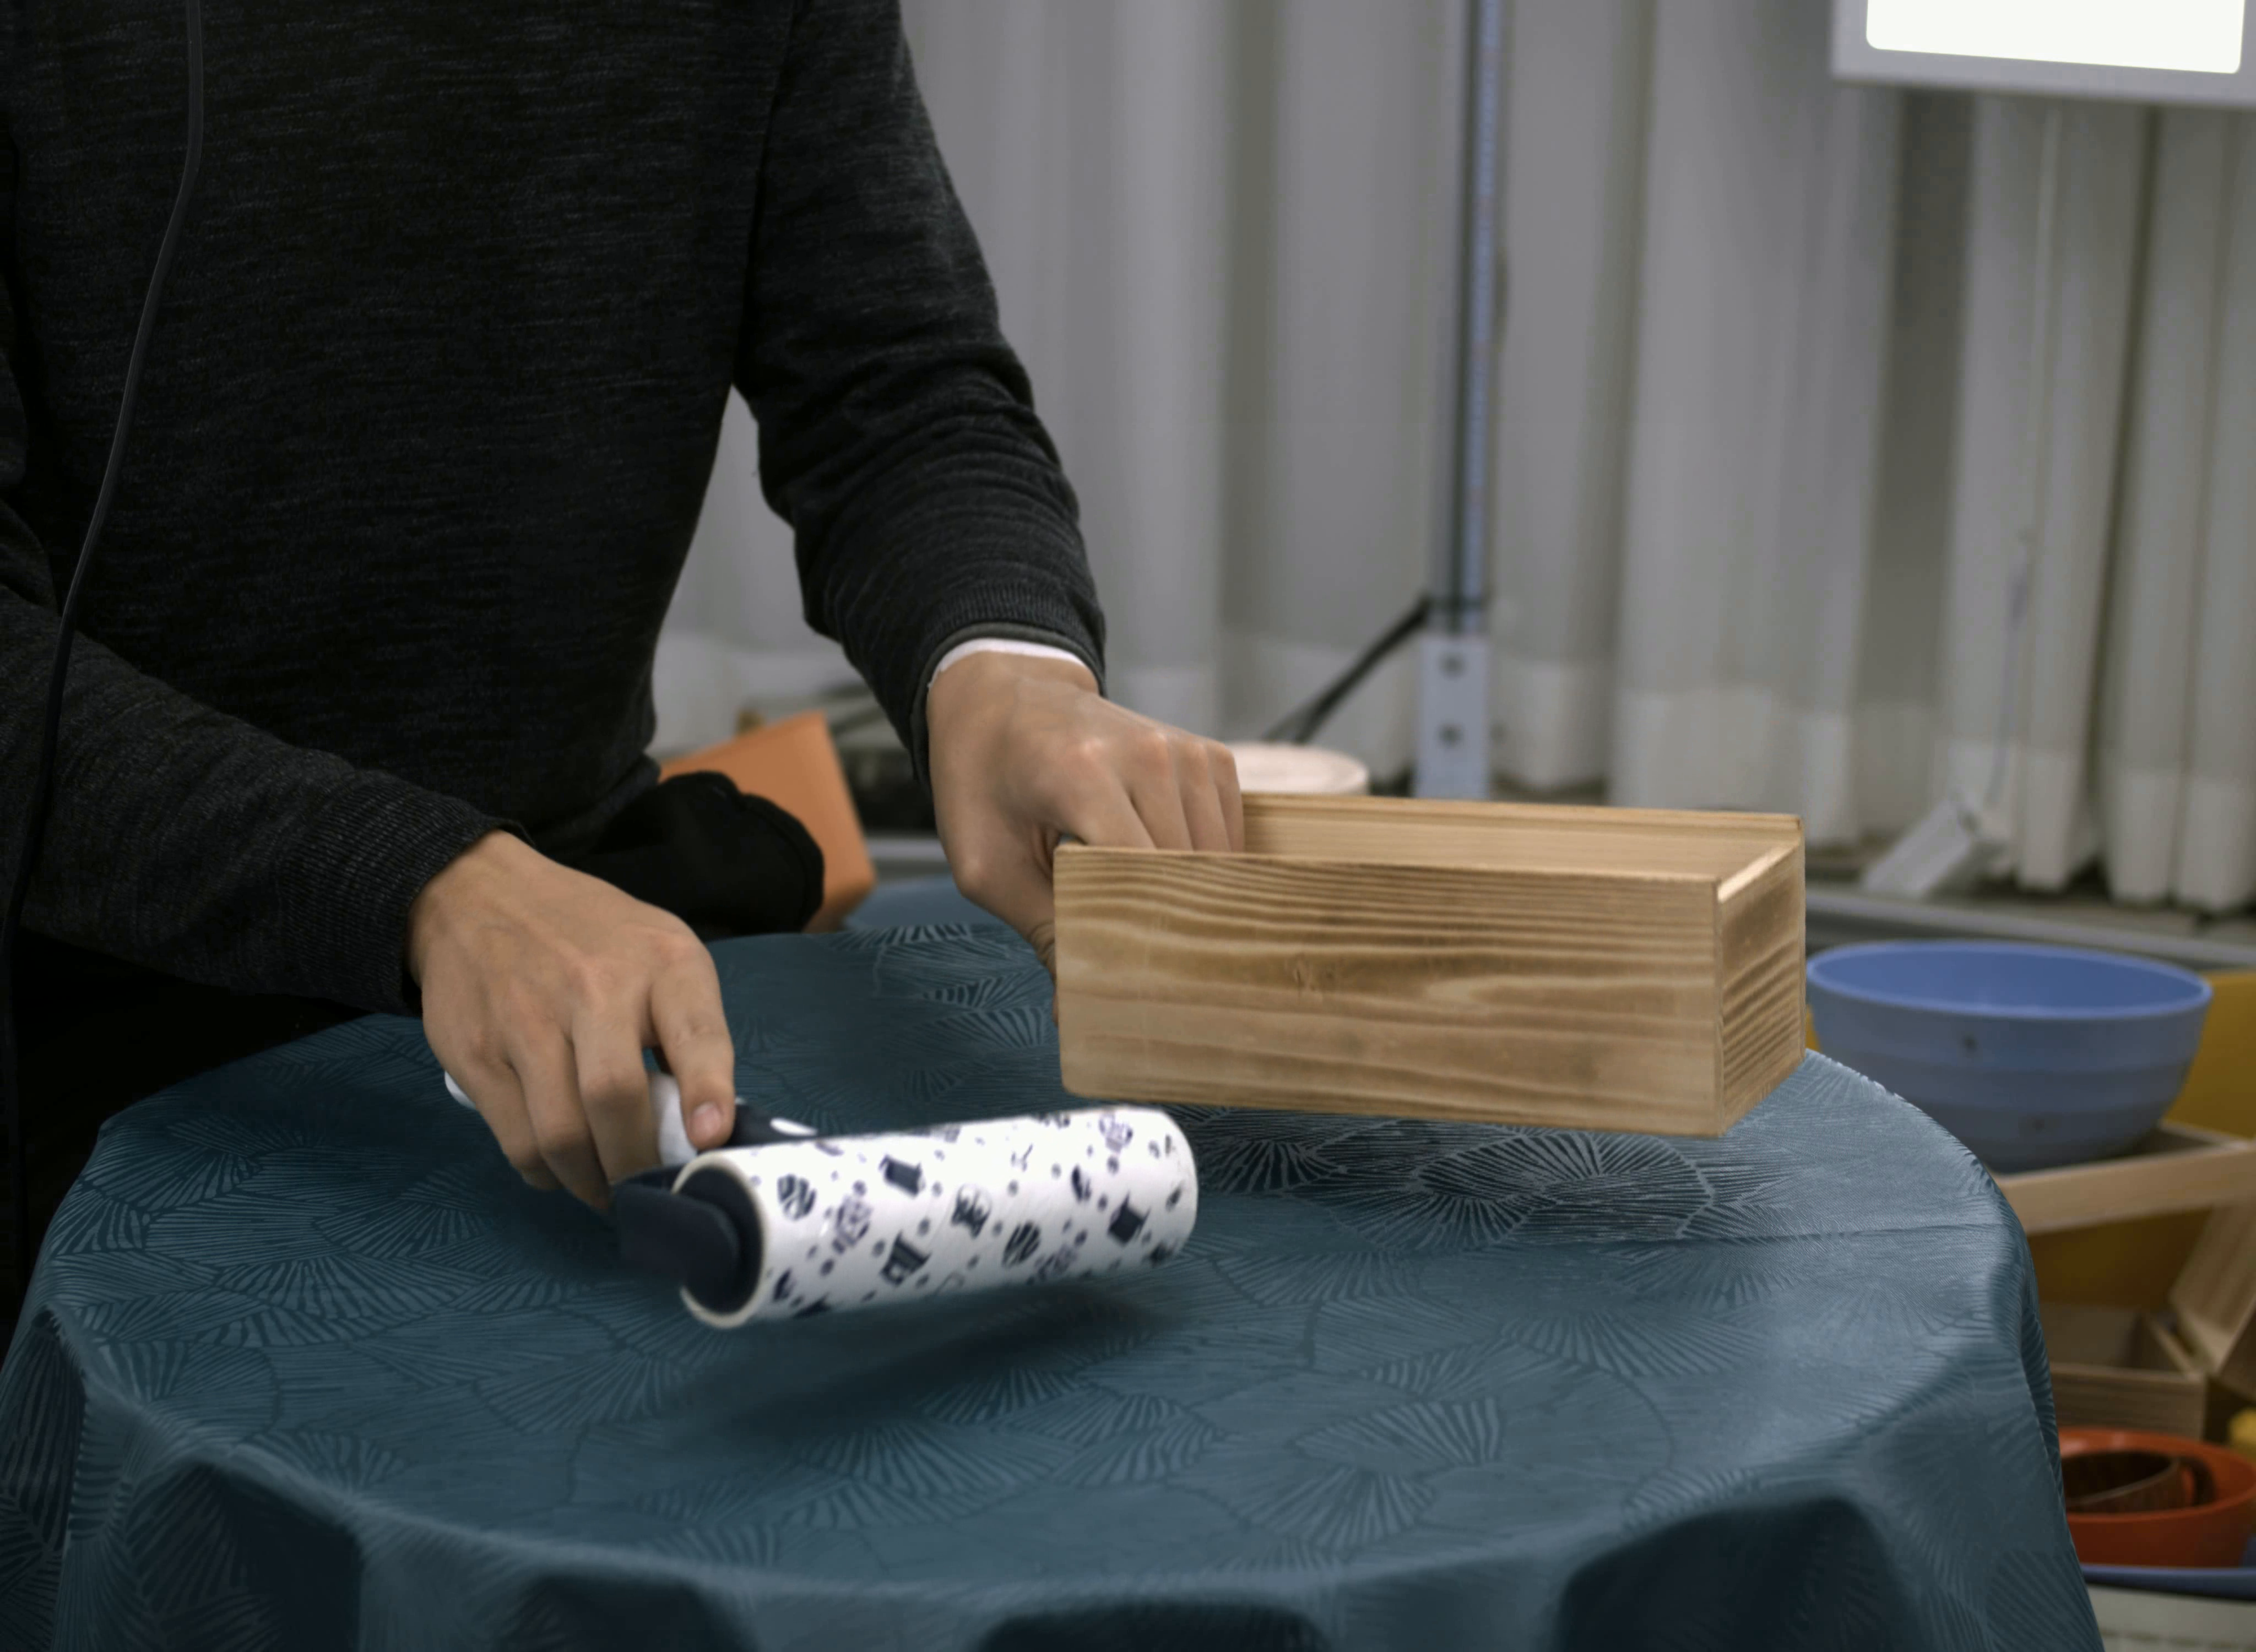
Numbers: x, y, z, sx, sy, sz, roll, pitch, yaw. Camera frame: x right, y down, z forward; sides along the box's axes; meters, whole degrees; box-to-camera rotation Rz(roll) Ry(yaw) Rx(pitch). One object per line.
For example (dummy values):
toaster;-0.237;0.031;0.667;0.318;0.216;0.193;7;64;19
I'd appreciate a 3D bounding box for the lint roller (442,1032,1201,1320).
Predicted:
lint roller;-0.122;0.087;1.534;0.177;0.050;0.244;-6;15;-44

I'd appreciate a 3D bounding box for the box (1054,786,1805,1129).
box;0.094;0.039;1.632;0.209;0.081;0.108;2;11;20
